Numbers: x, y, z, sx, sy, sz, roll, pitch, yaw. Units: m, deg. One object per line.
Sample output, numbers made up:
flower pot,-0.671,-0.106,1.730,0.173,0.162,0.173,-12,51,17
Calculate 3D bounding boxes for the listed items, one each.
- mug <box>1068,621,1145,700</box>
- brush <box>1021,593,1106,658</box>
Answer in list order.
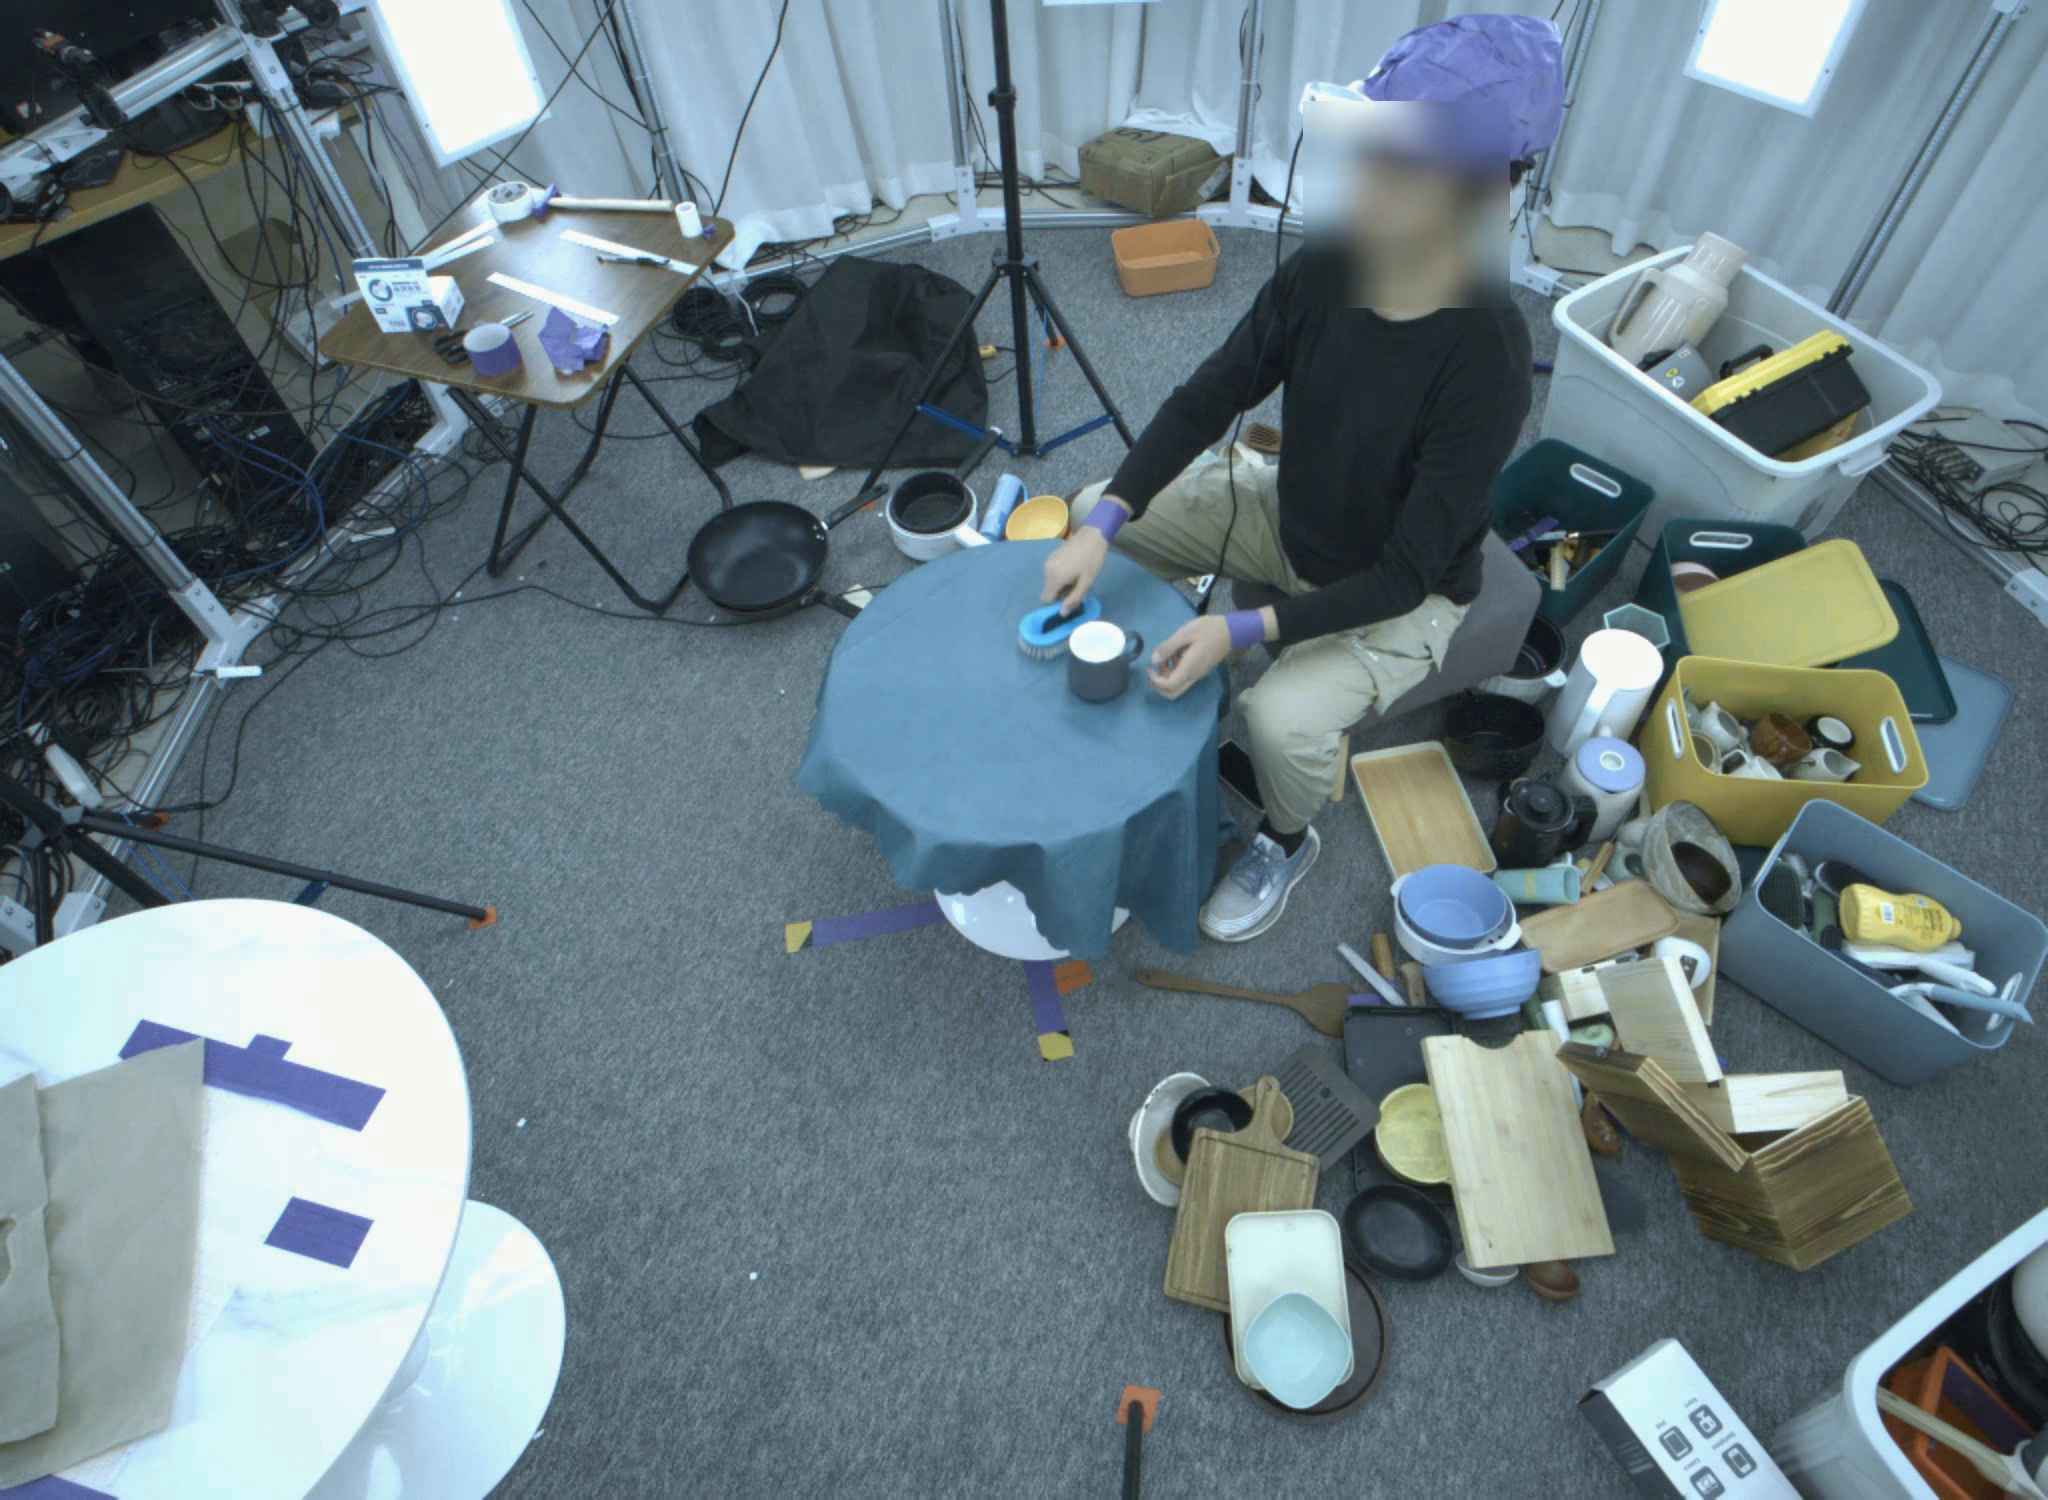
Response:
mug,0.123,-0.138,1.825,0.124,0.091,0.092,-25,58,-12
brush,0.058,-0.203,1.891,0.143,0.064,0.082,-28,53,-17
